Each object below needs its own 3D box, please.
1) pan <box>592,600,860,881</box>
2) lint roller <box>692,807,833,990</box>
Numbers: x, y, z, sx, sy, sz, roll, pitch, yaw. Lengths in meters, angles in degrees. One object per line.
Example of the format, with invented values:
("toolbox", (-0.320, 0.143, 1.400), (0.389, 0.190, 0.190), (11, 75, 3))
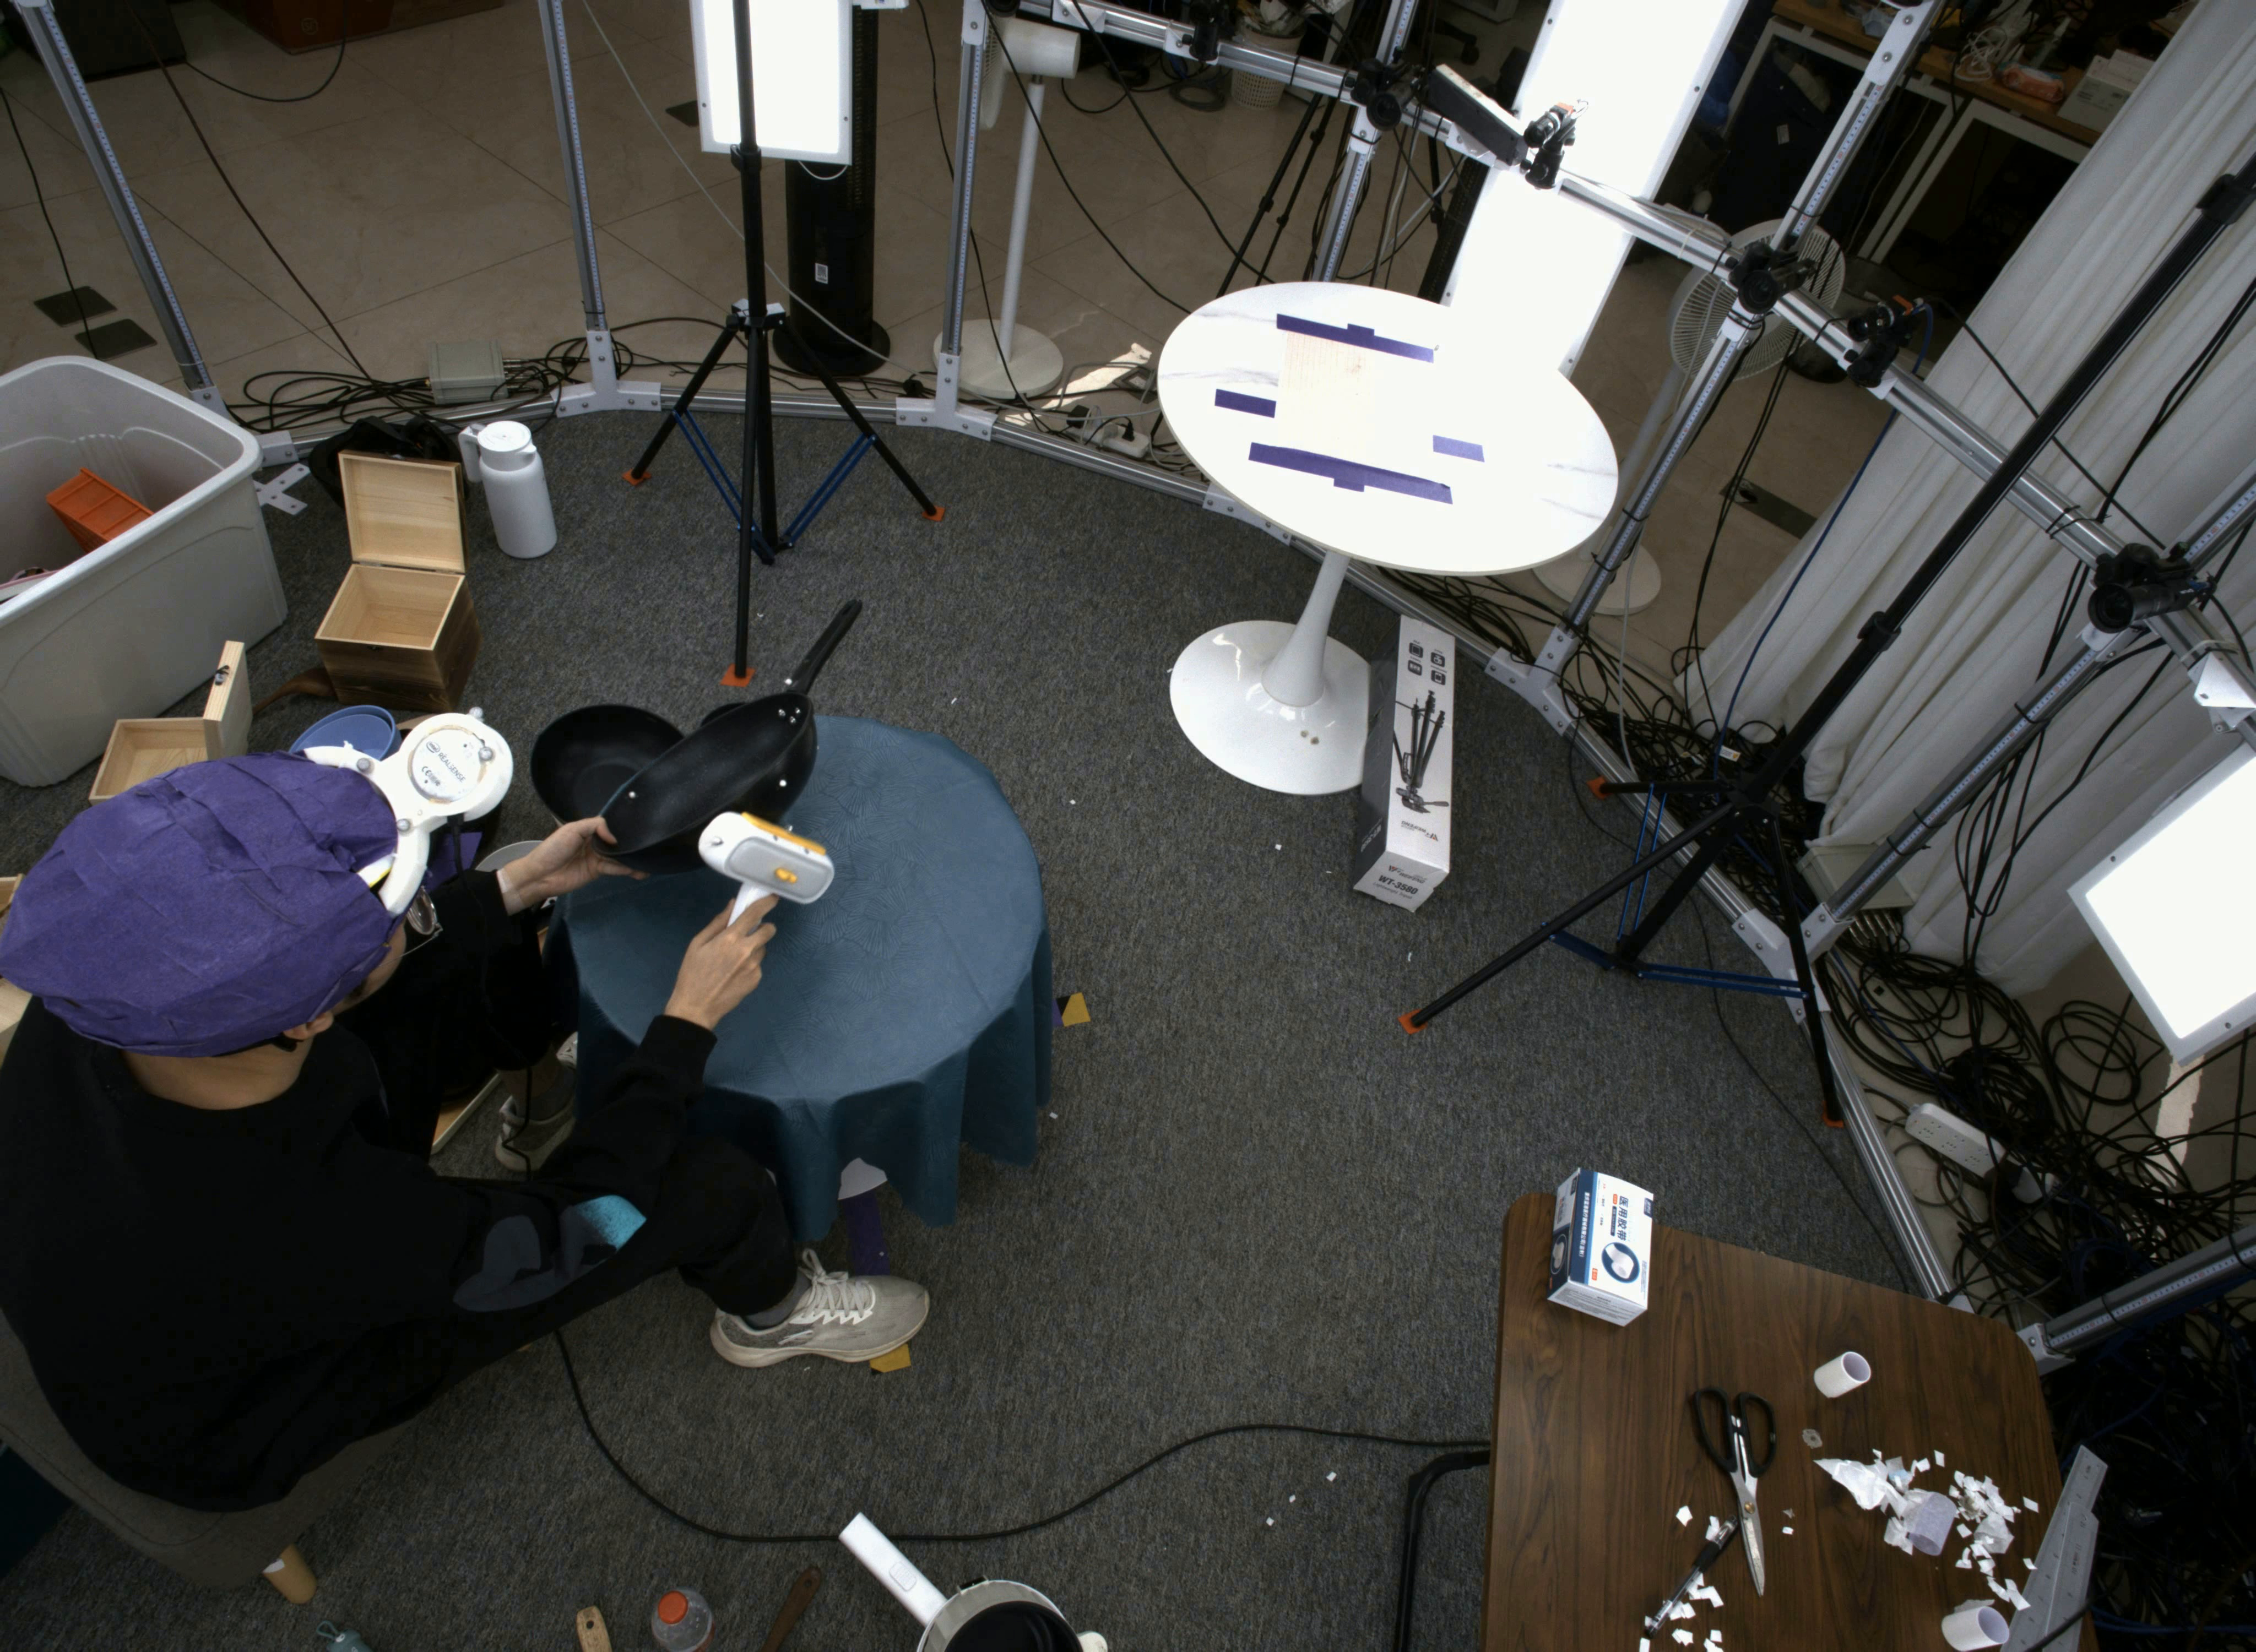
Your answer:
("pan", (-0.459, -0.097, 1.596), (0.300, 0.116, 0.475), (2, 43, 41))
("lint roller", (-0.430, 0.086, 1.465), (0.072, 0.197, 0.194), (27, 91, 23))
